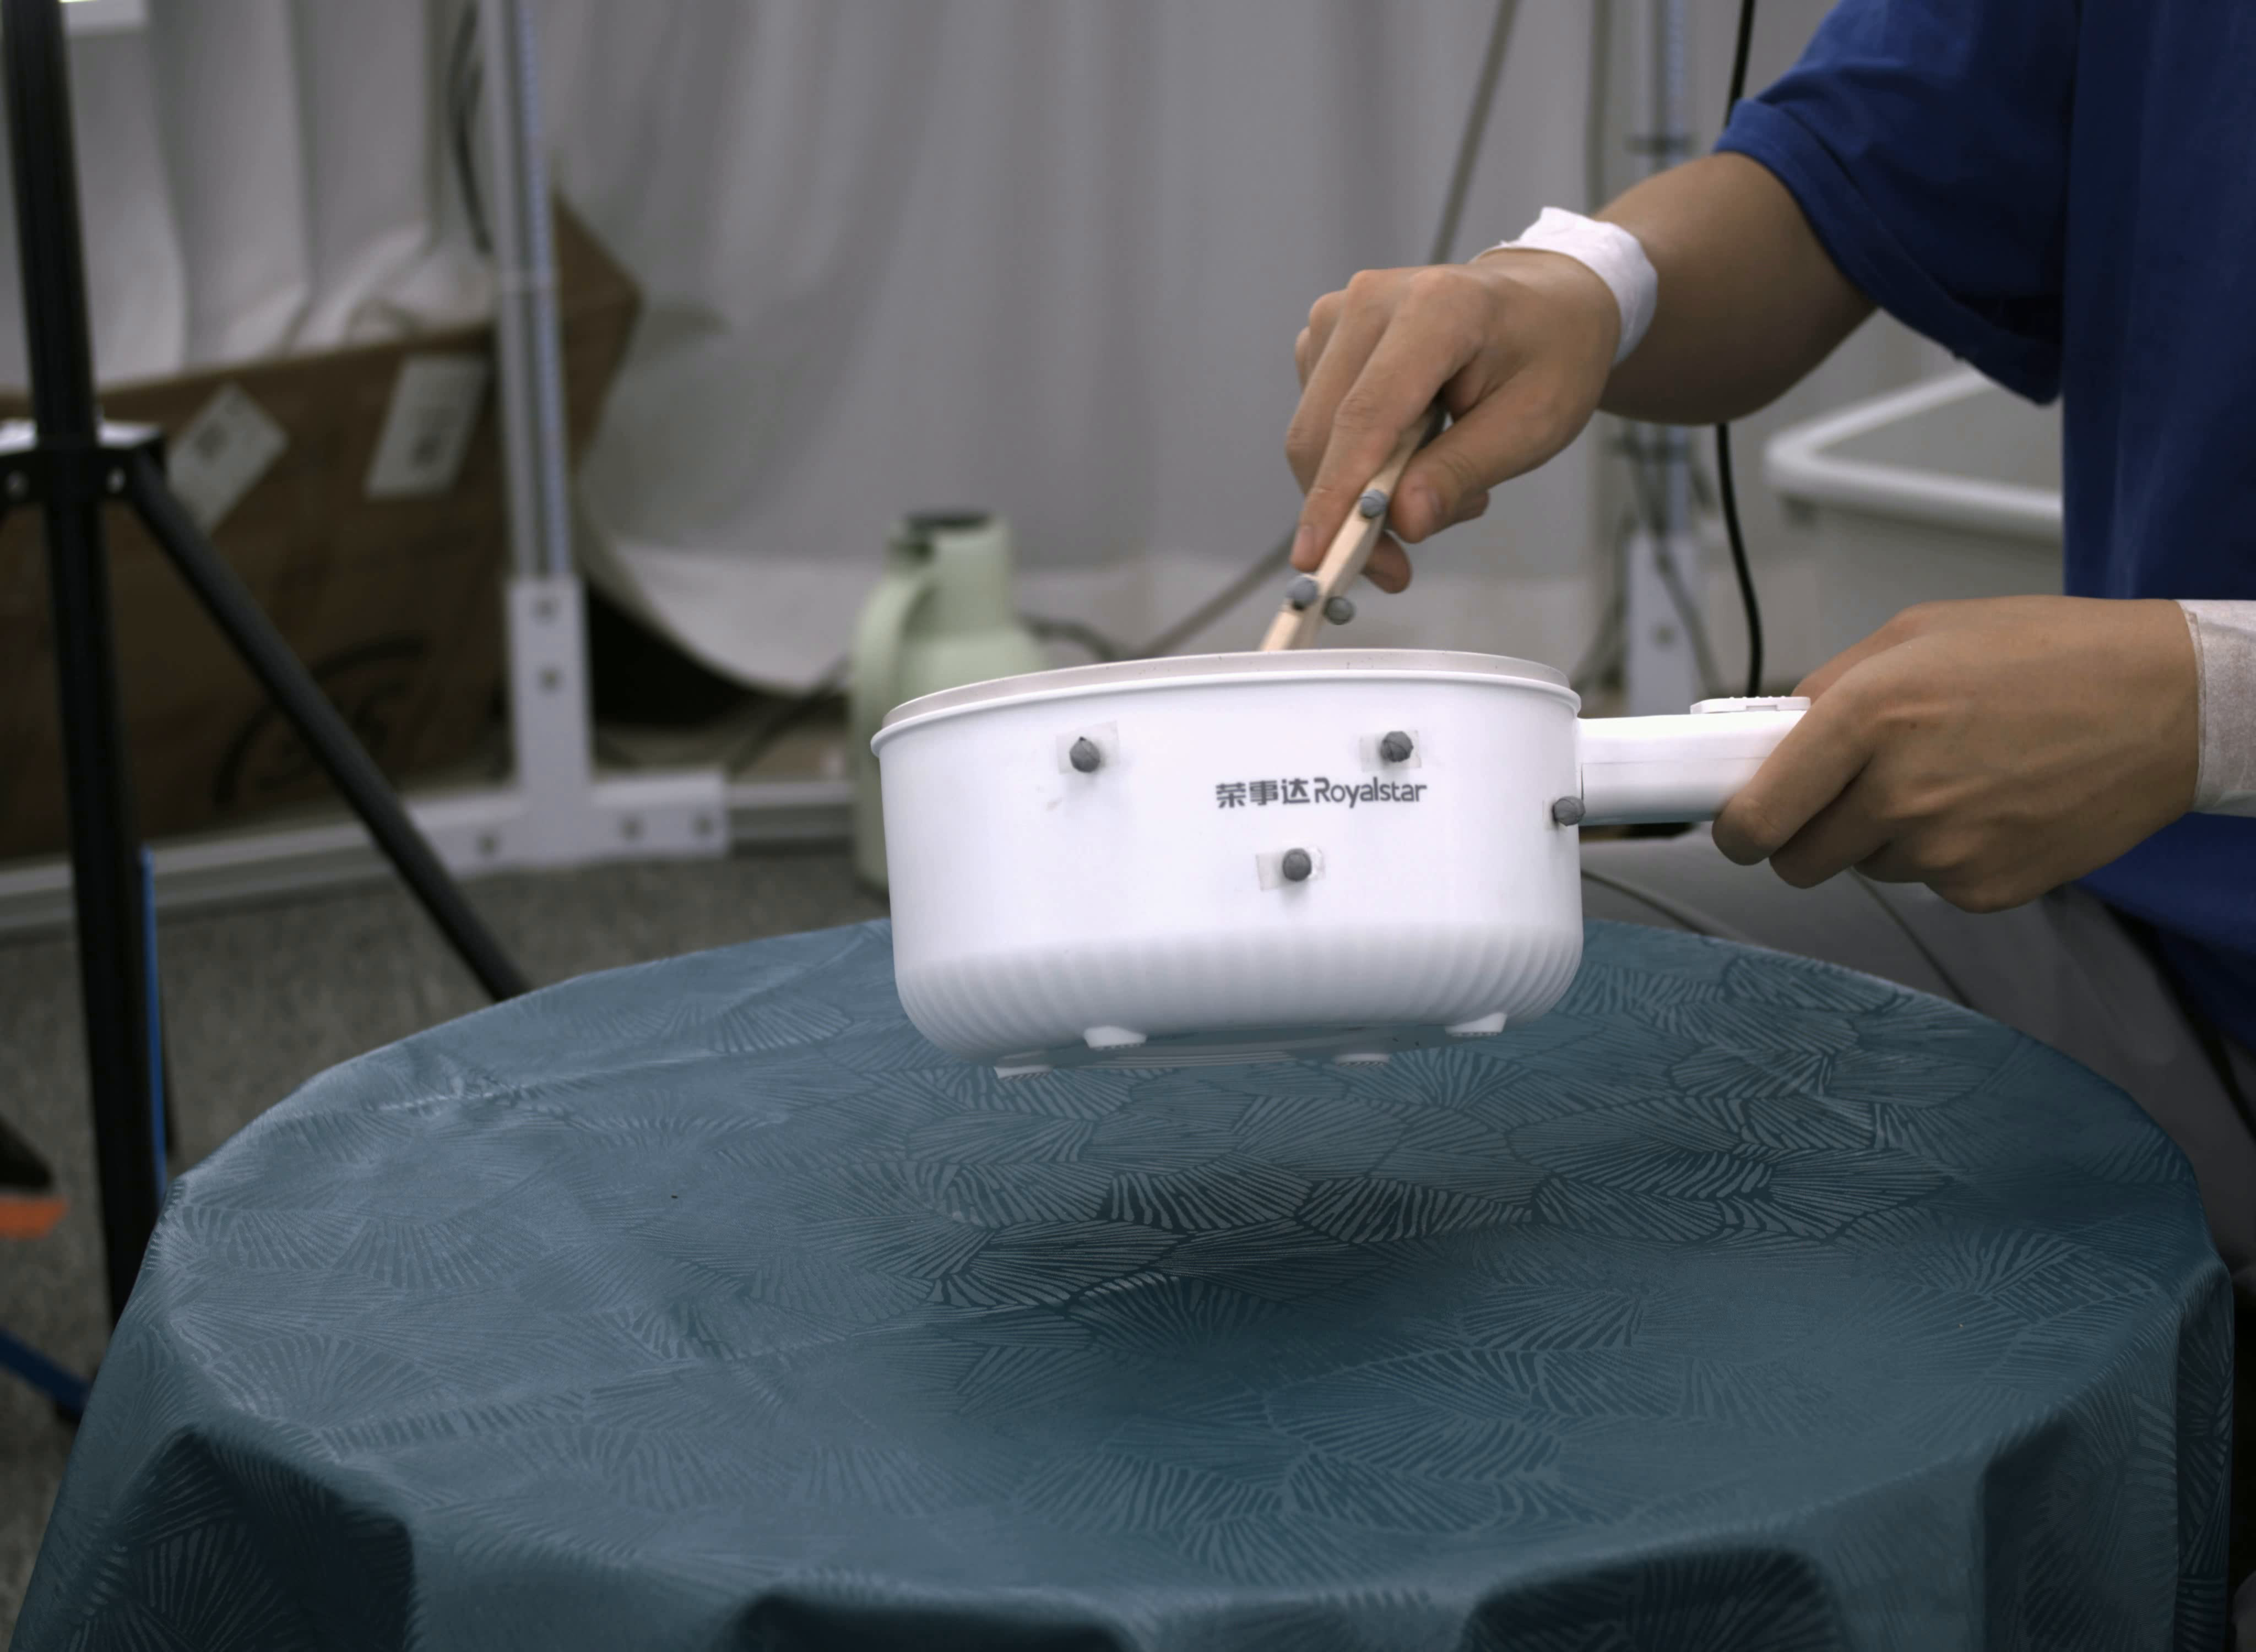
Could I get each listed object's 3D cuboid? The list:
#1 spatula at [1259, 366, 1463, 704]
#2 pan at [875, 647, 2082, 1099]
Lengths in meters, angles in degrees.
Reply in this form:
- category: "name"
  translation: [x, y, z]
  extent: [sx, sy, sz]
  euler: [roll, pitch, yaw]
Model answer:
- category: "spatula"
  translation: [0.064, -0.072, 1.554]
  extent: [0.011, 0.072, 0.291]
  euler: [19, 30, 7]
- category: "pan"
  translation: [0.105, 0.016, 1.511]
  extent: [0.349, 0.103, 0.203]
  euler: [-1, -9, -14]
